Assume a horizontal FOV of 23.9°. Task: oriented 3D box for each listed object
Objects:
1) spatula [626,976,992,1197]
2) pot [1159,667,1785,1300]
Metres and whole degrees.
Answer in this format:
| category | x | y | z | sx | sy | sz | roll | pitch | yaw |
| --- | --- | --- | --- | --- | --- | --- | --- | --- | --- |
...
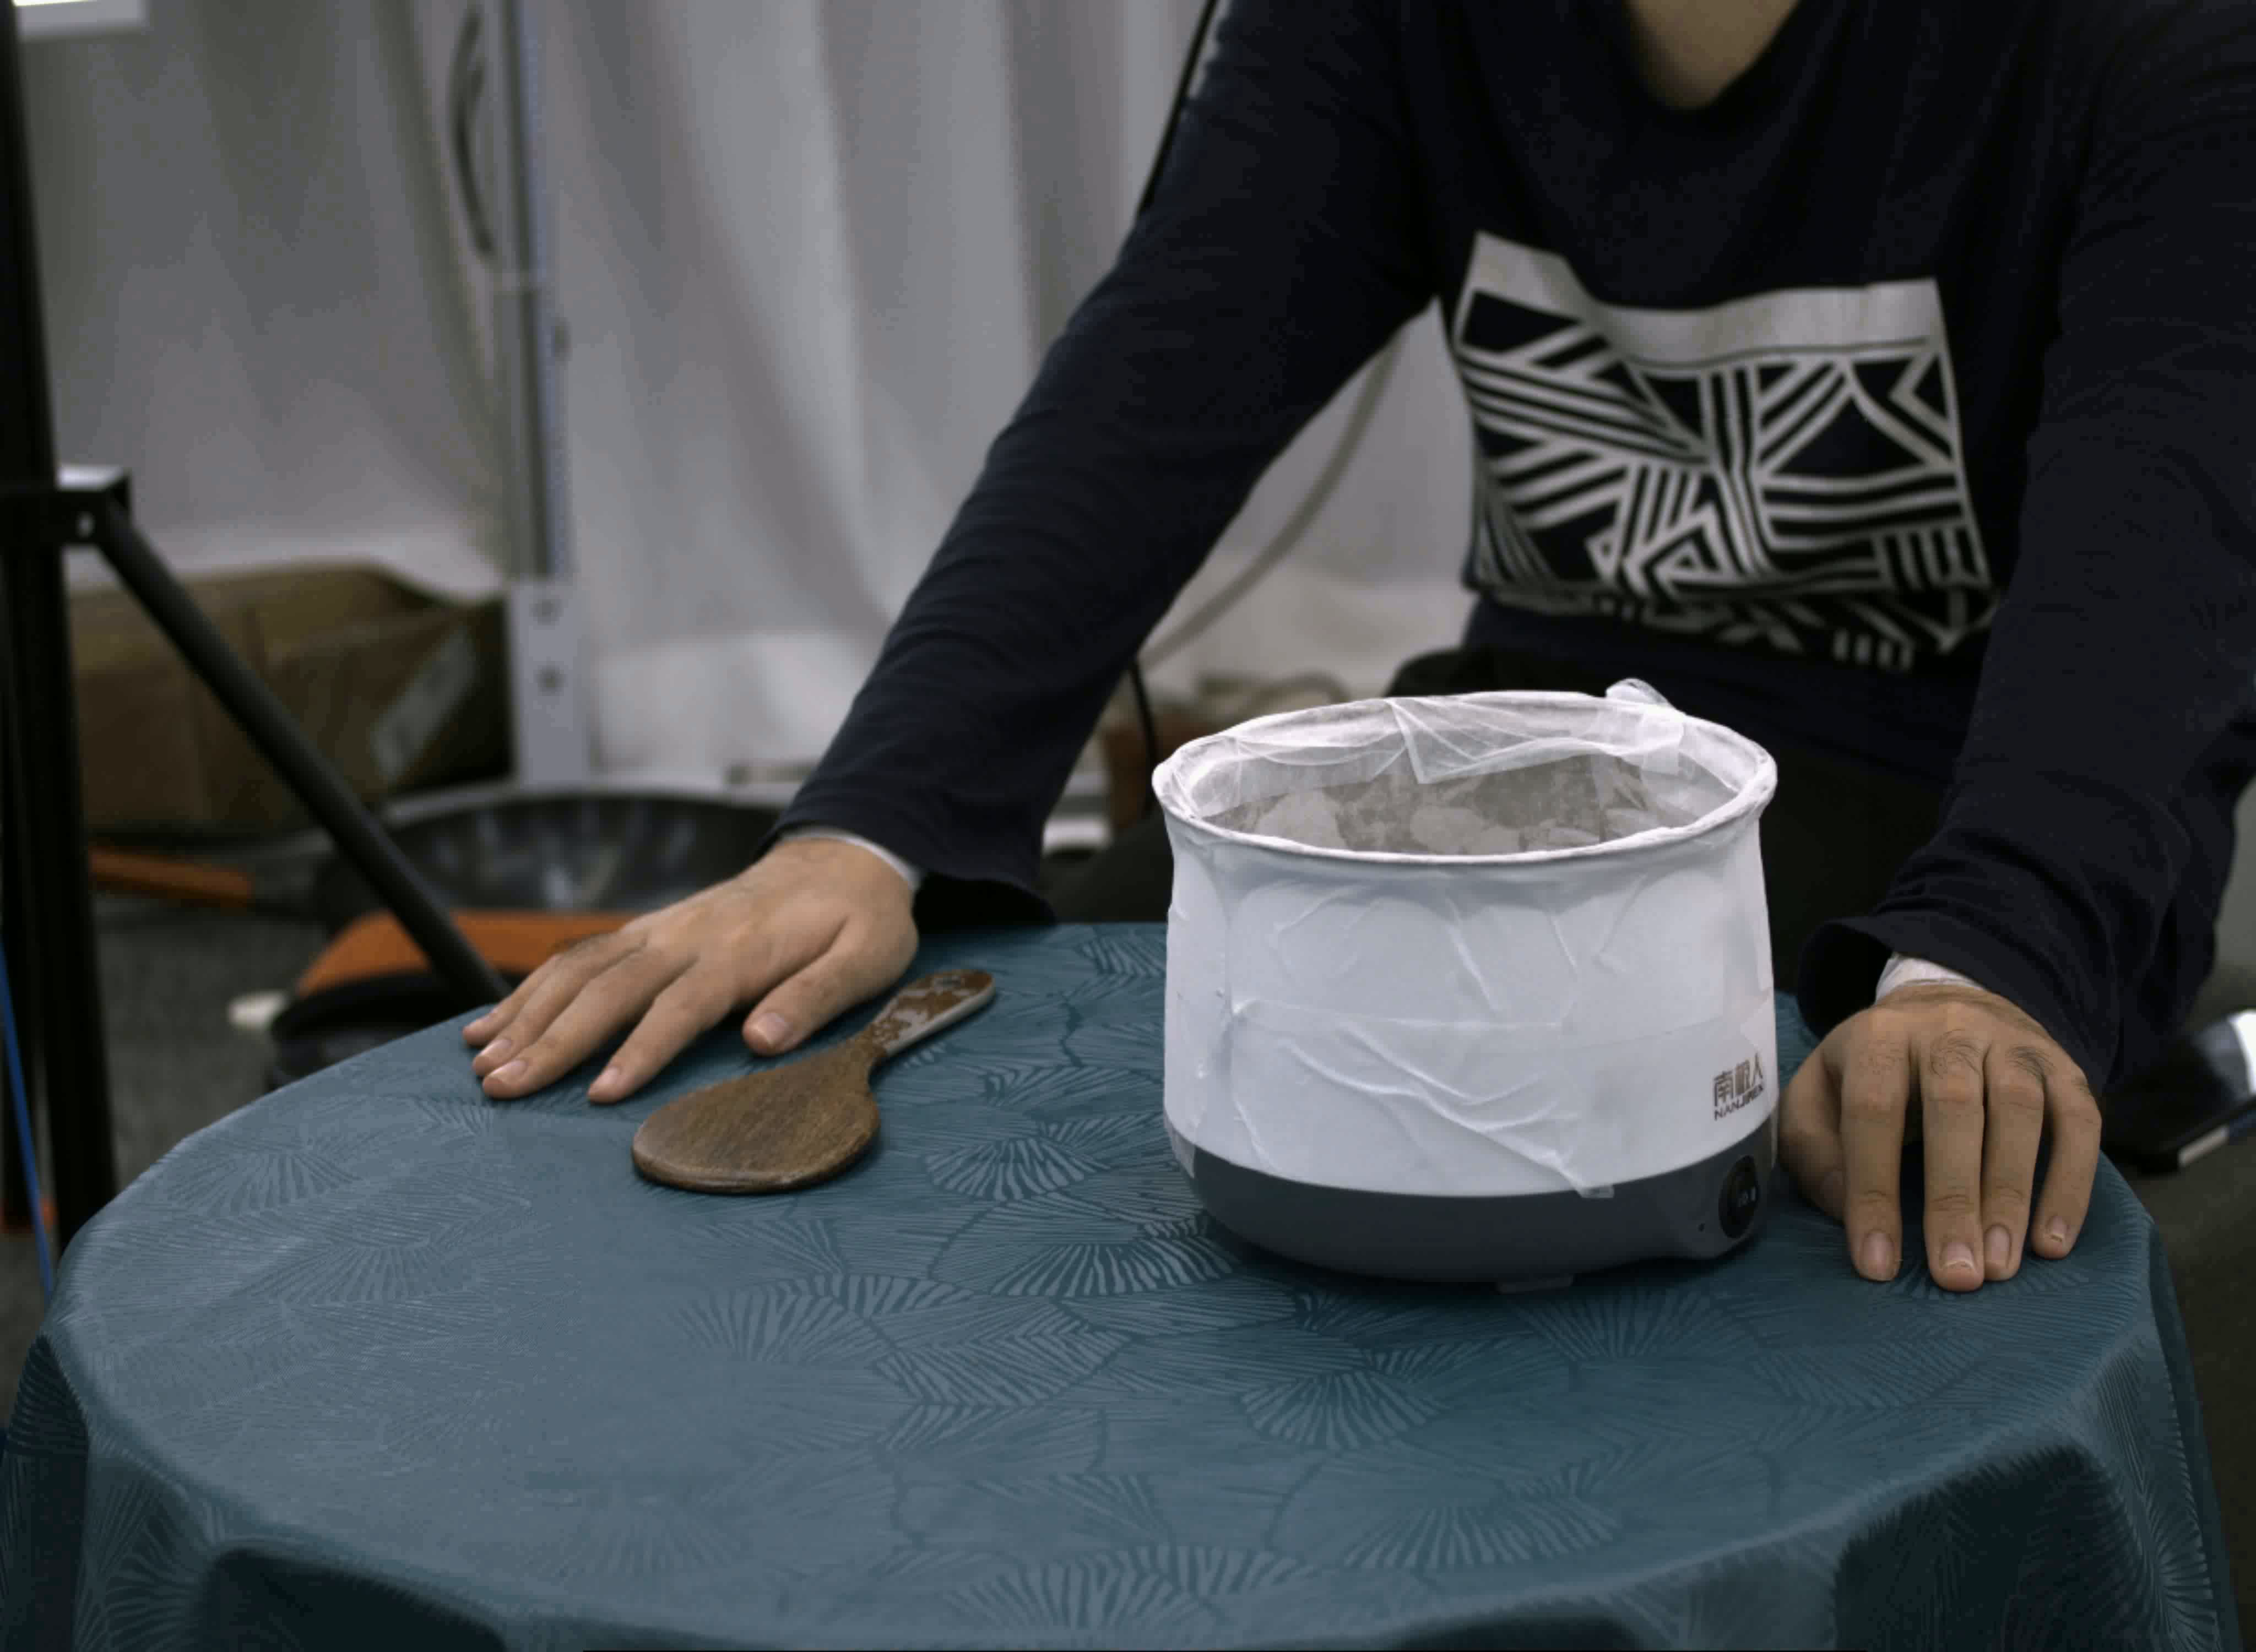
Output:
| category | x | y | z | sx | sy | sz | roll | pitch | yaw |
| --- | --- | --- | --- | --- | --- | --- | --- | --- | --- |
| spatula | -0.088 | 0.079 | 1.671 | 0.073 | 0.009 | 0.213 | 5 | 16 | 21 |
| pot | 0.111 | 0.038 | 1.537 | 0.182 | 0.136 | 0.229 | 11 | 21 | 31 |
